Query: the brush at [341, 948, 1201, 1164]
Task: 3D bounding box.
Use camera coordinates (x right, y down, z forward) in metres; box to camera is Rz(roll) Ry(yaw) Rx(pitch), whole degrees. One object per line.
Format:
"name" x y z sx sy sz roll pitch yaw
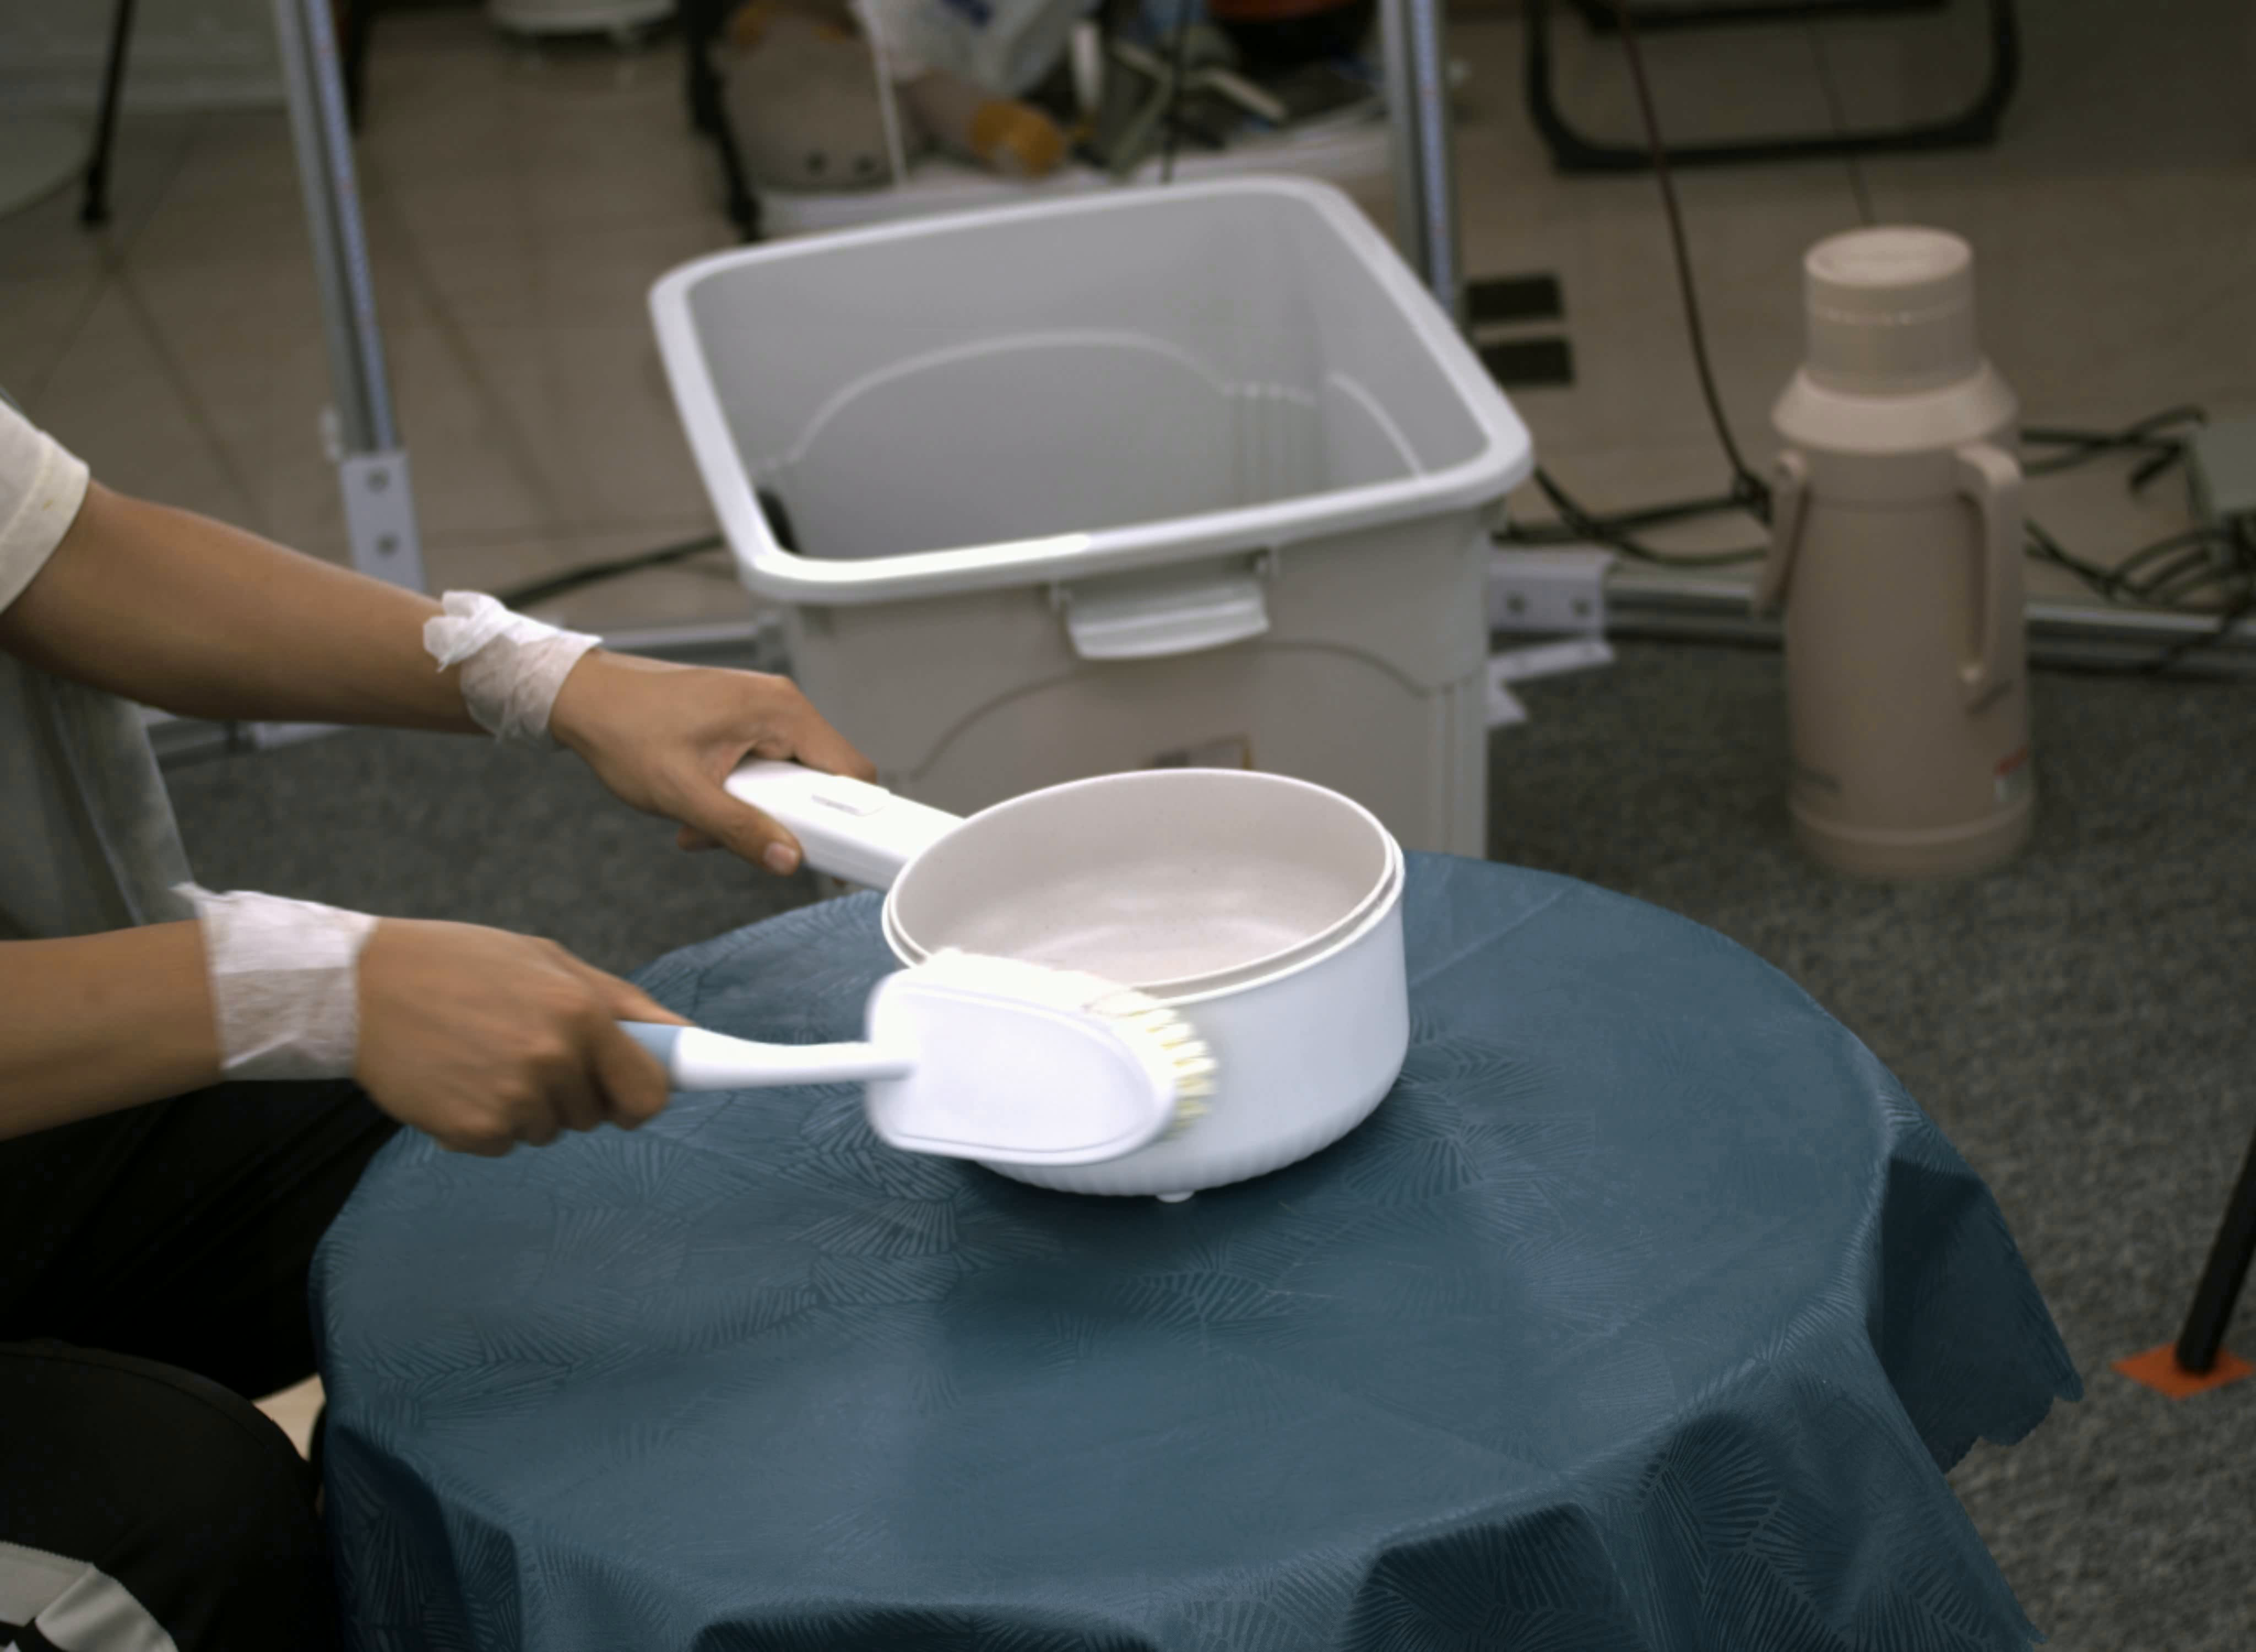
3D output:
"brush" -0.130 0.077 2.098 0.324 0.086 0.082 4 63 14

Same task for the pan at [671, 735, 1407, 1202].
"pan" -0.046 0.048 2.238 0.352 0.104 0.199 17 34 41
